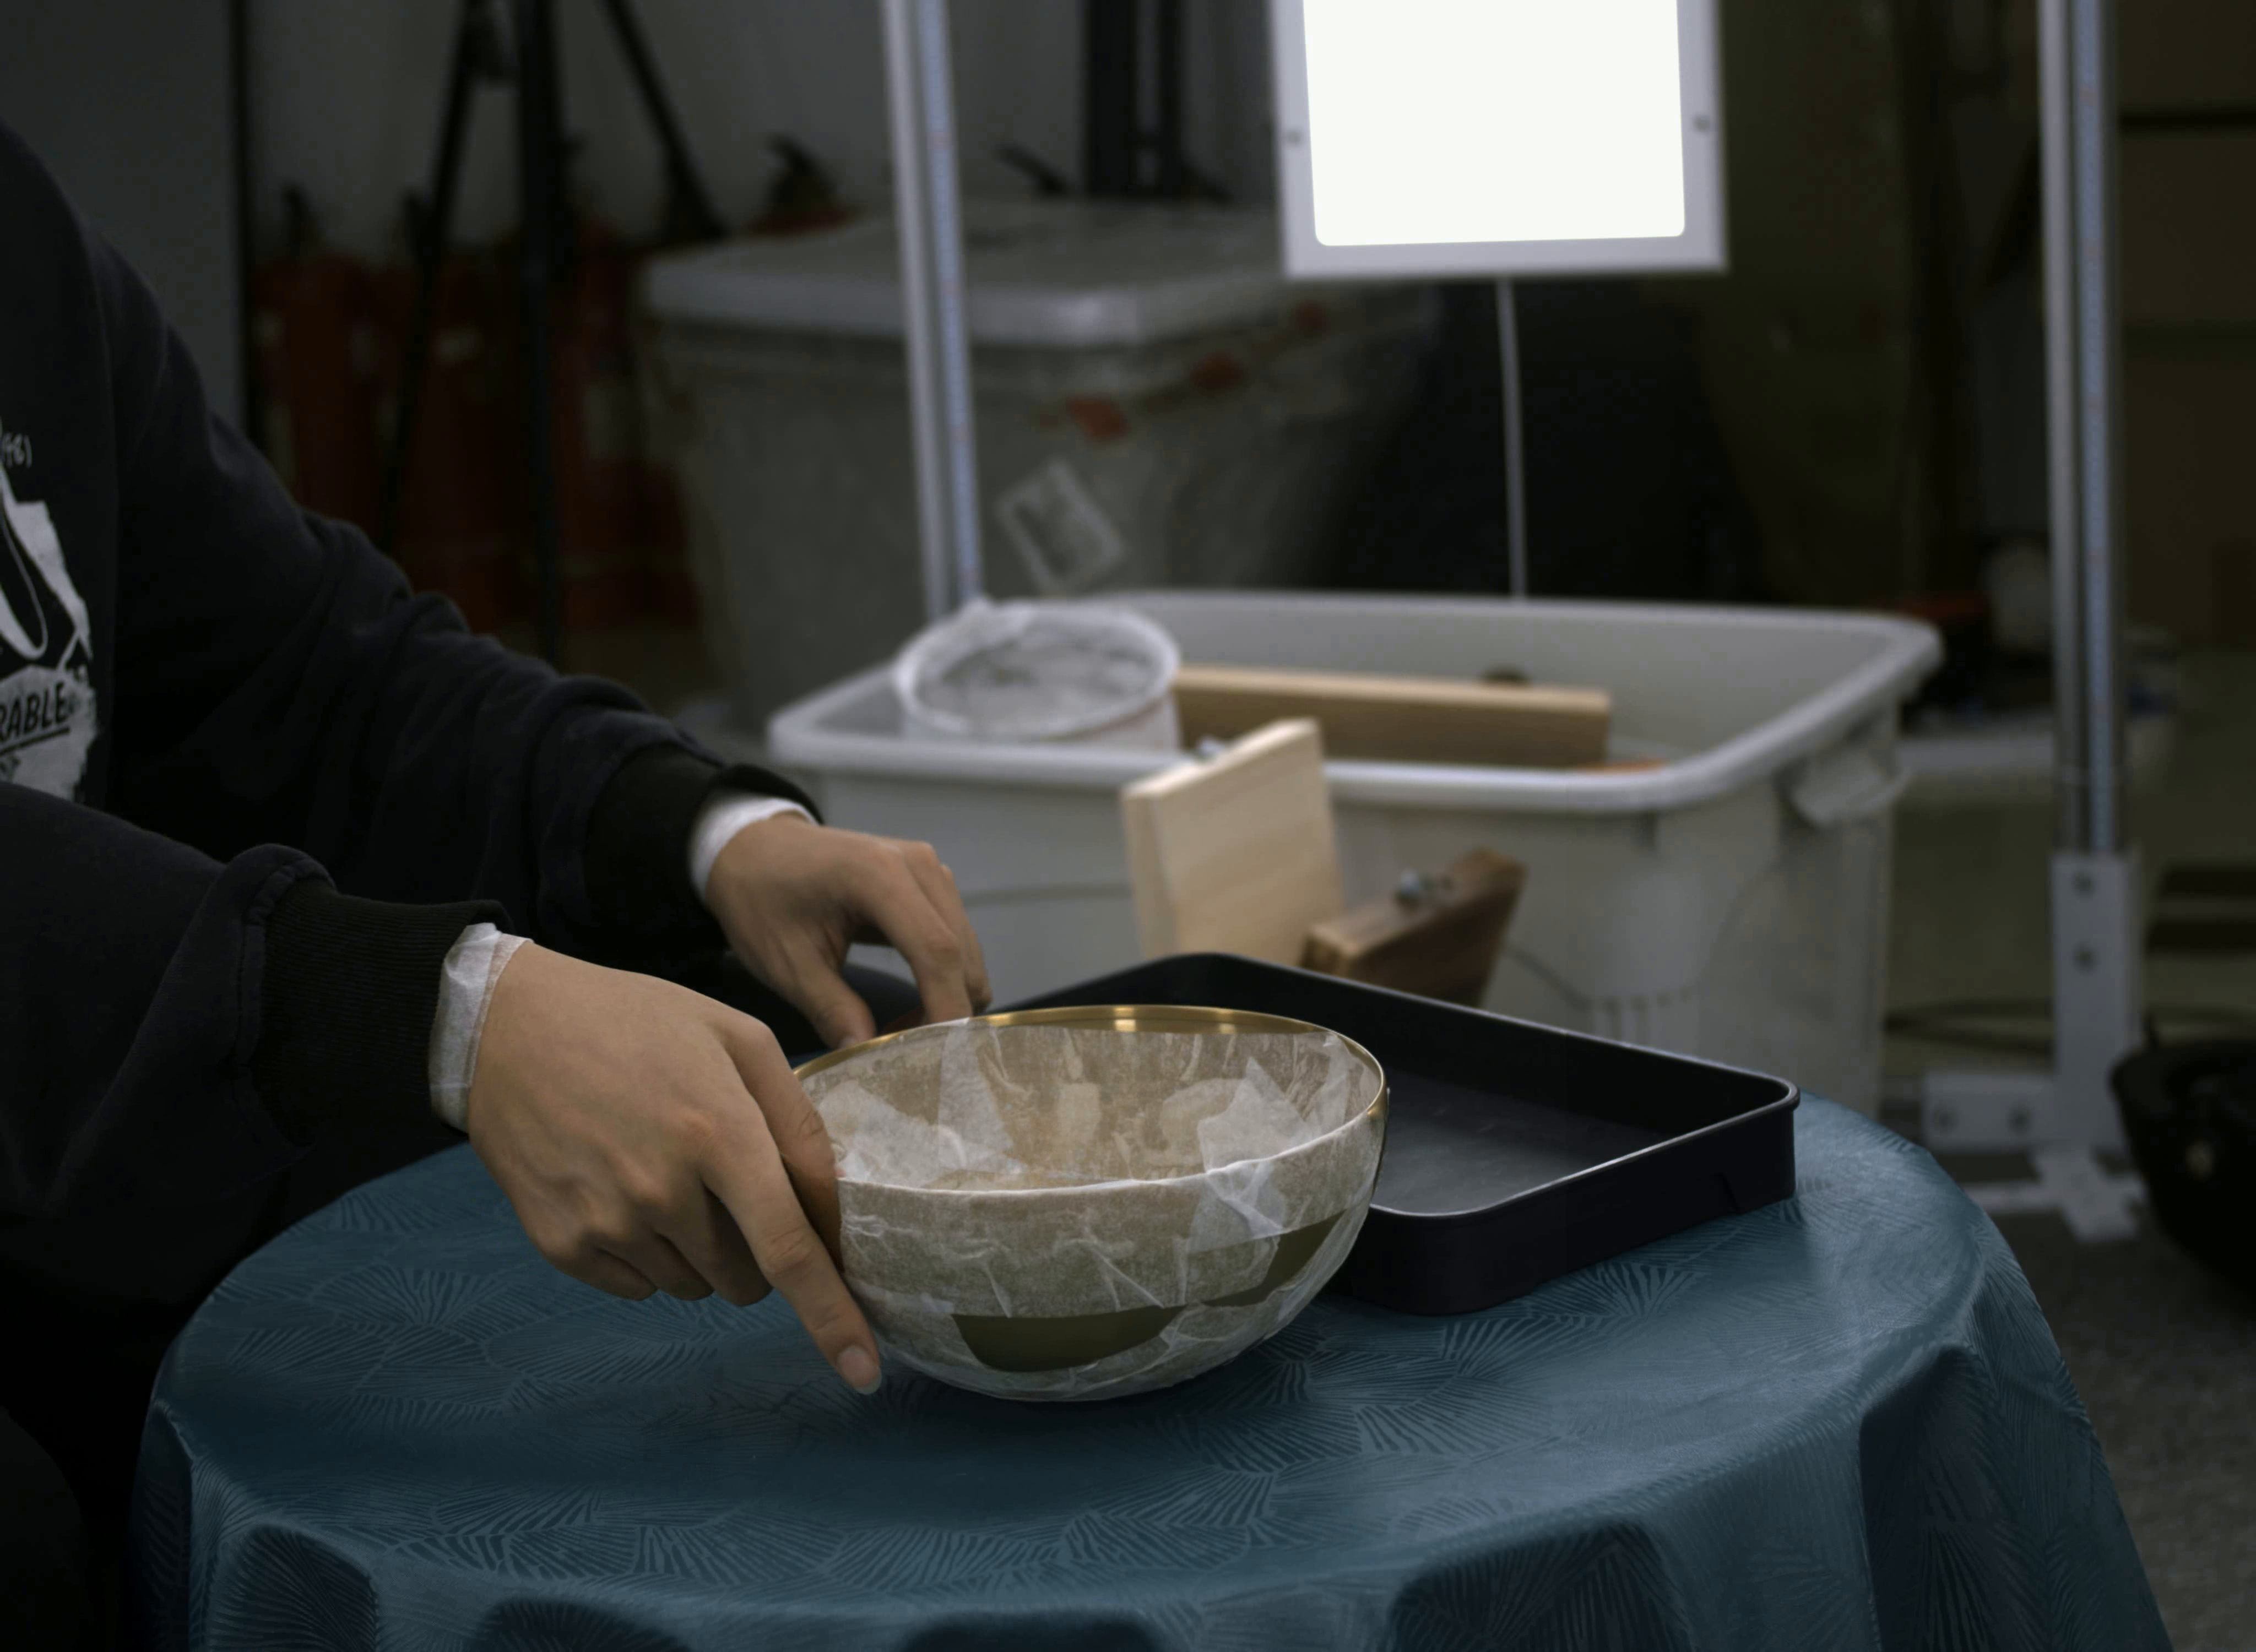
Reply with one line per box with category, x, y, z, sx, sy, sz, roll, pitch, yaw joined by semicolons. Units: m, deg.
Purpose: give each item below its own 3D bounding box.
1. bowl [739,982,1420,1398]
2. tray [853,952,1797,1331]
bowl;-0.014;0.122;1.719;0.214;0.095;0.214;-5;15;0
tray;0.063;0.104;1.902;0.180;0.037;0.324;-14;18;-36
